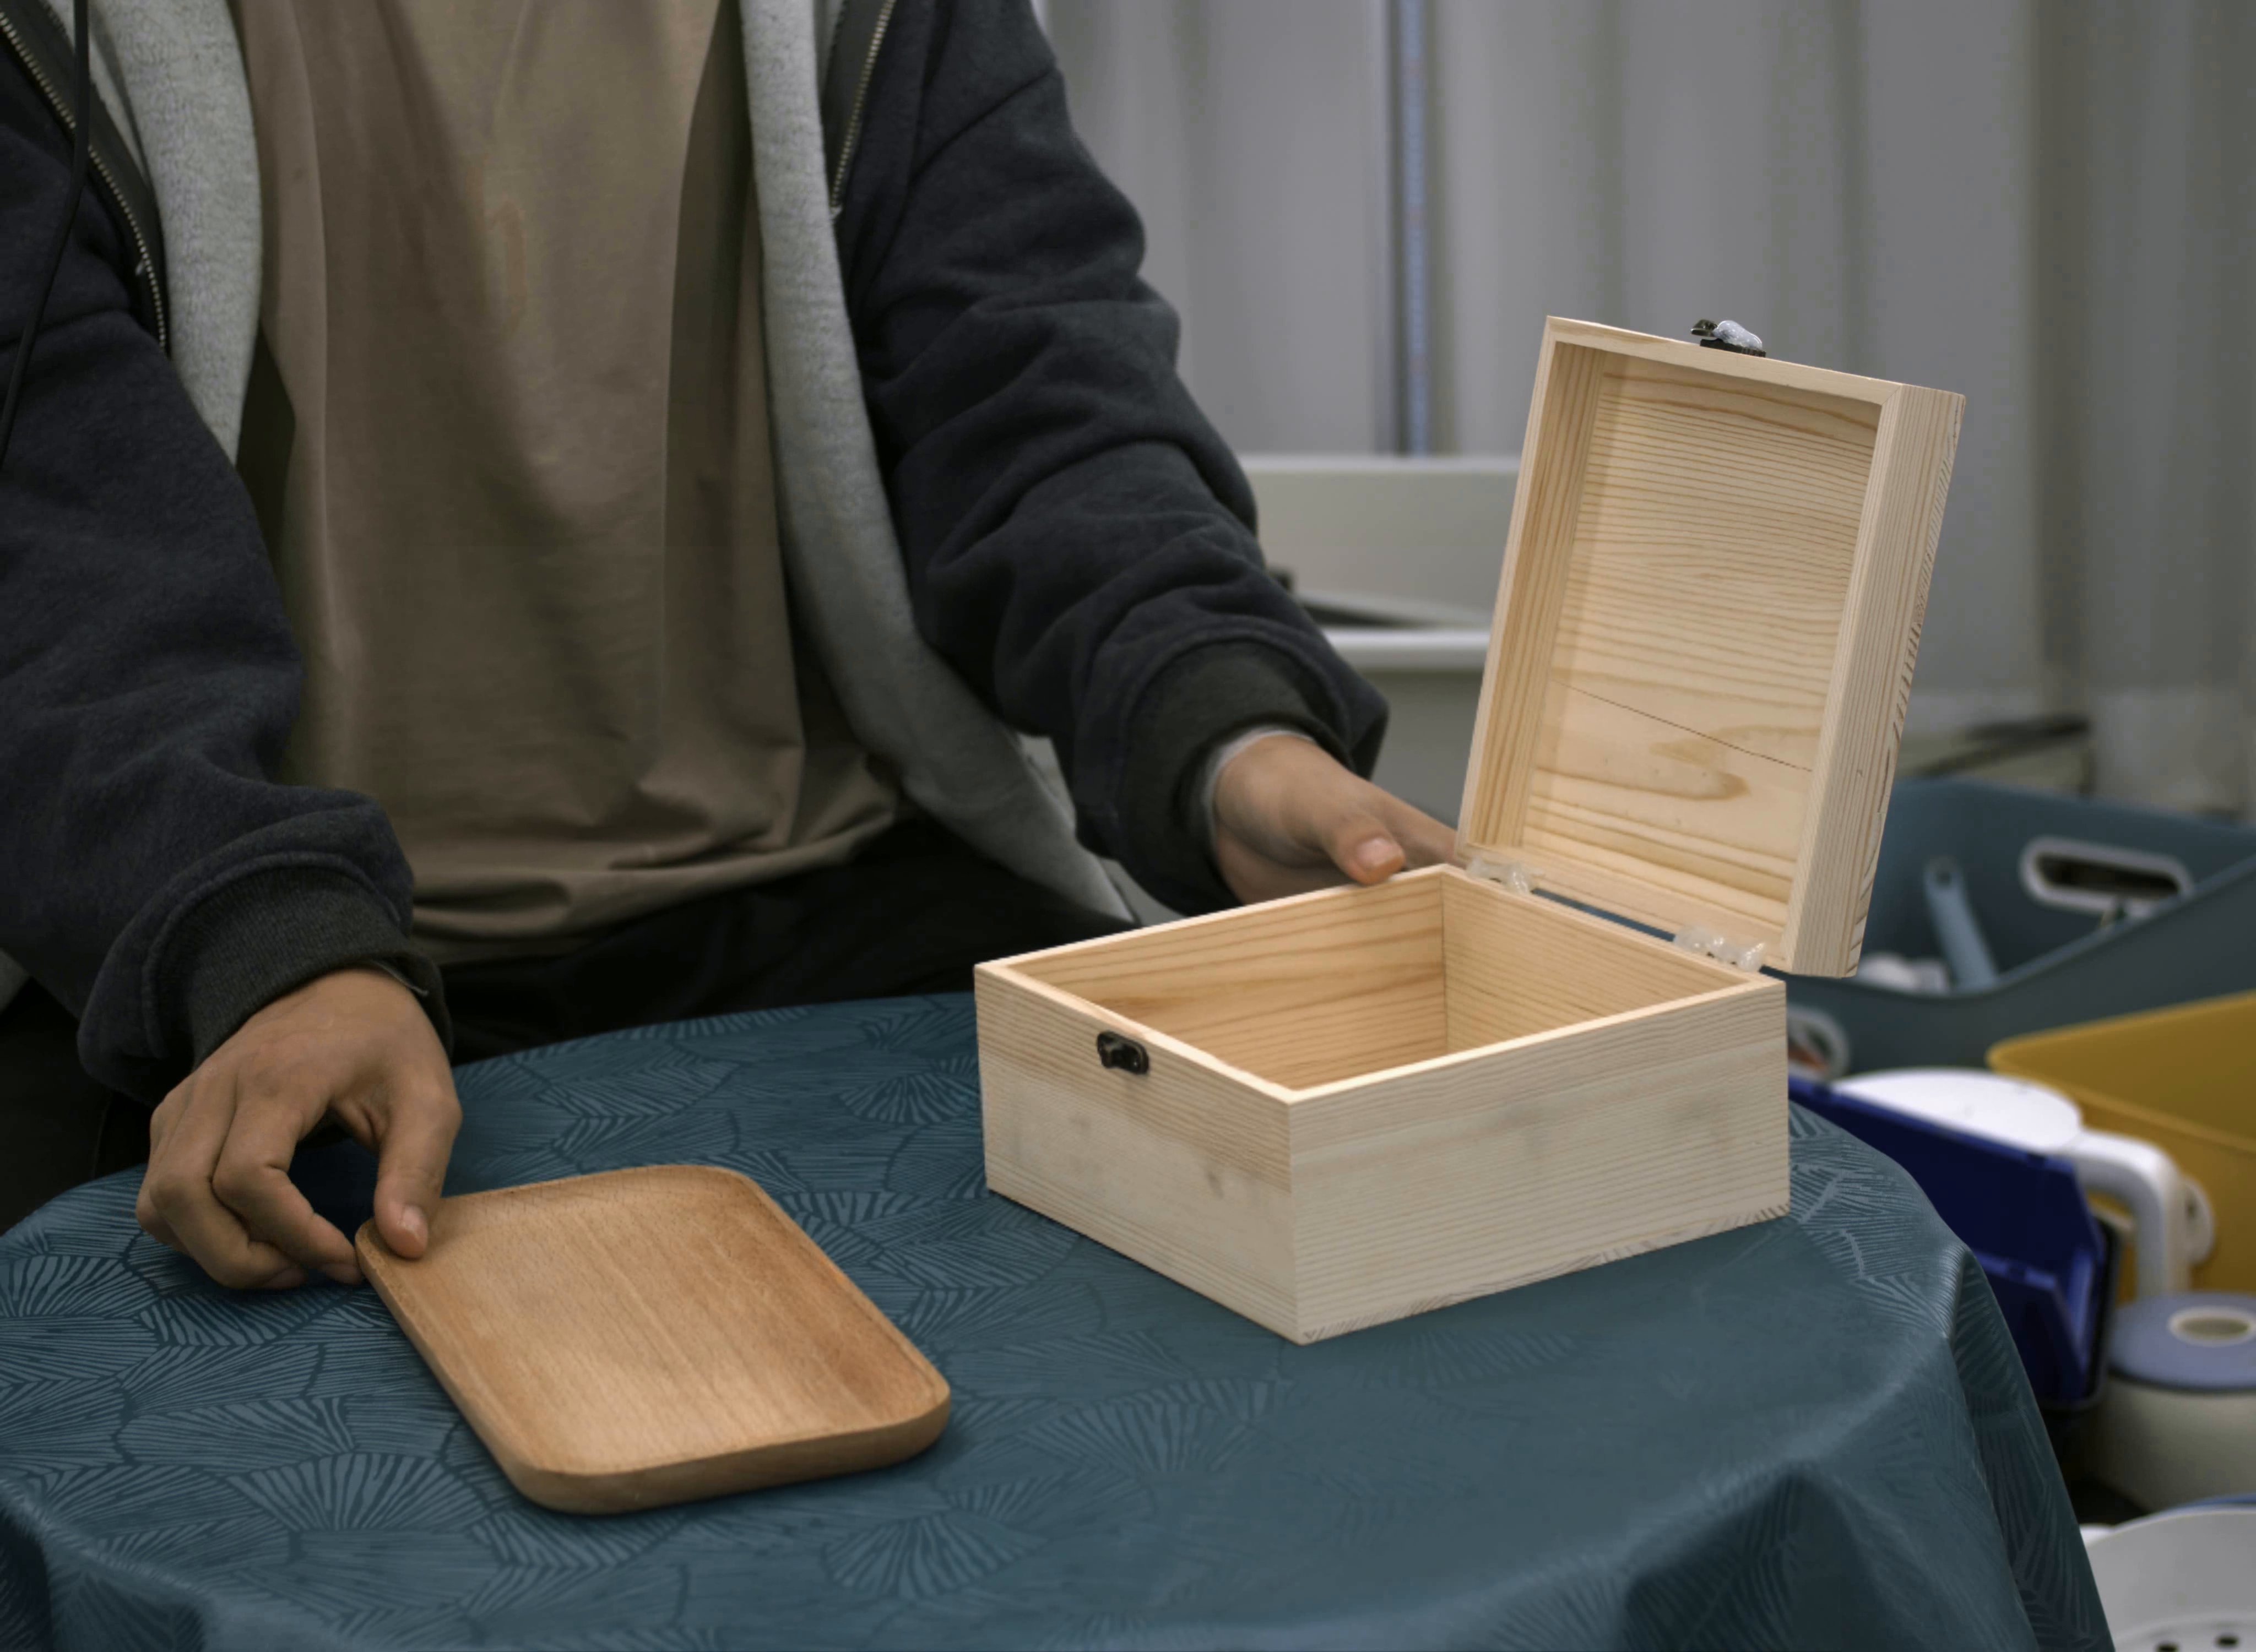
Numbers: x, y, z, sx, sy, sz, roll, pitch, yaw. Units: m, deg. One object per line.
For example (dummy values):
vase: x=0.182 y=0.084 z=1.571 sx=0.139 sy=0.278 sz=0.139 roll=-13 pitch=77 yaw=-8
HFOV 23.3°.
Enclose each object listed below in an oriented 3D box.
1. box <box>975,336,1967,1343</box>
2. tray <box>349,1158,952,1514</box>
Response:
box: x=0.102 y=-0.007 z=1.684 sx=0.264 sy=0.252 sz=0.183 roll=-10 pitch=13 yaw=-31
tray: x=-0.143 y=0.146 z=1.593 sx=0.130 sy=0.023 sz=0.252 roll=-5 pitch=14 yaw=-18
